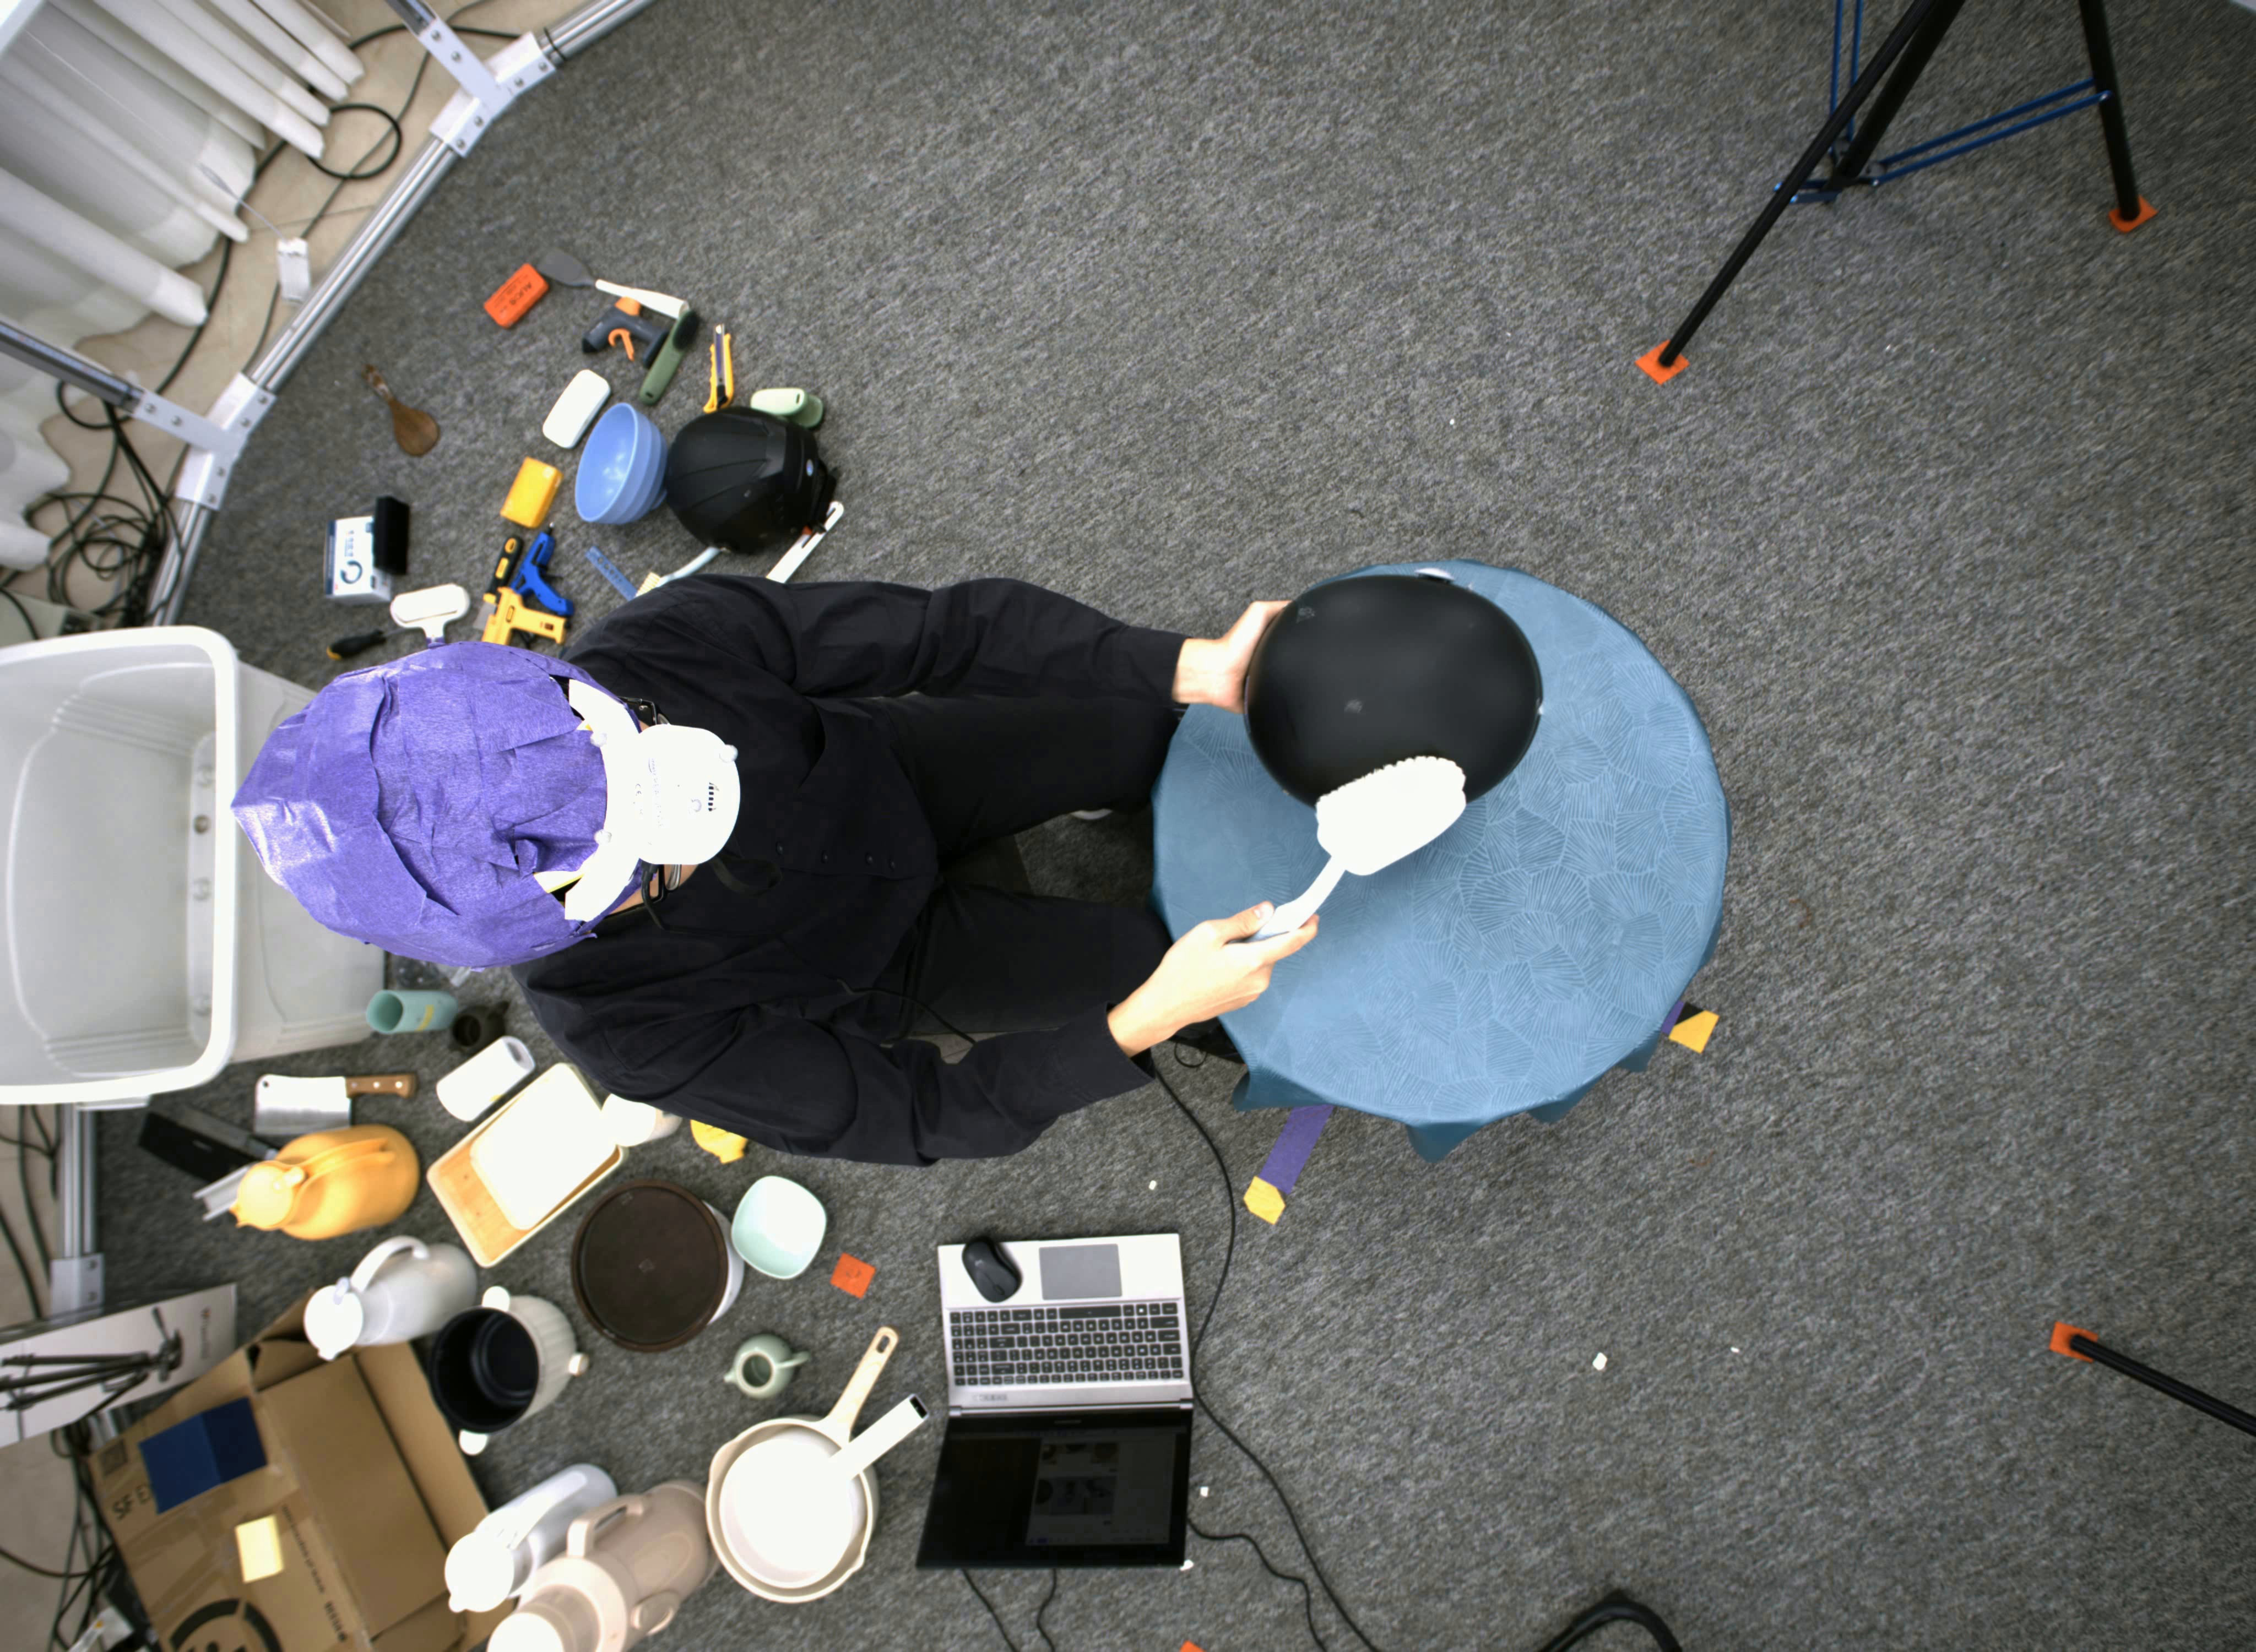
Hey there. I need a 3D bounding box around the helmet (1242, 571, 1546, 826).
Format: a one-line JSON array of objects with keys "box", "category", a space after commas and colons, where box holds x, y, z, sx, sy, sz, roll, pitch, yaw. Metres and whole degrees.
[{"box": [0.228, -0.111, 1.206, 0.274, 0.165, 0.232, 3, 100, 15], "category": "helmet"}]

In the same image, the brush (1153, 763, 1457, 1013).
[{"box": [0.141, 0.045, 1.195, 0.330, 0.083, 0.083, -38, 83, 22], "category": "brush"}]
